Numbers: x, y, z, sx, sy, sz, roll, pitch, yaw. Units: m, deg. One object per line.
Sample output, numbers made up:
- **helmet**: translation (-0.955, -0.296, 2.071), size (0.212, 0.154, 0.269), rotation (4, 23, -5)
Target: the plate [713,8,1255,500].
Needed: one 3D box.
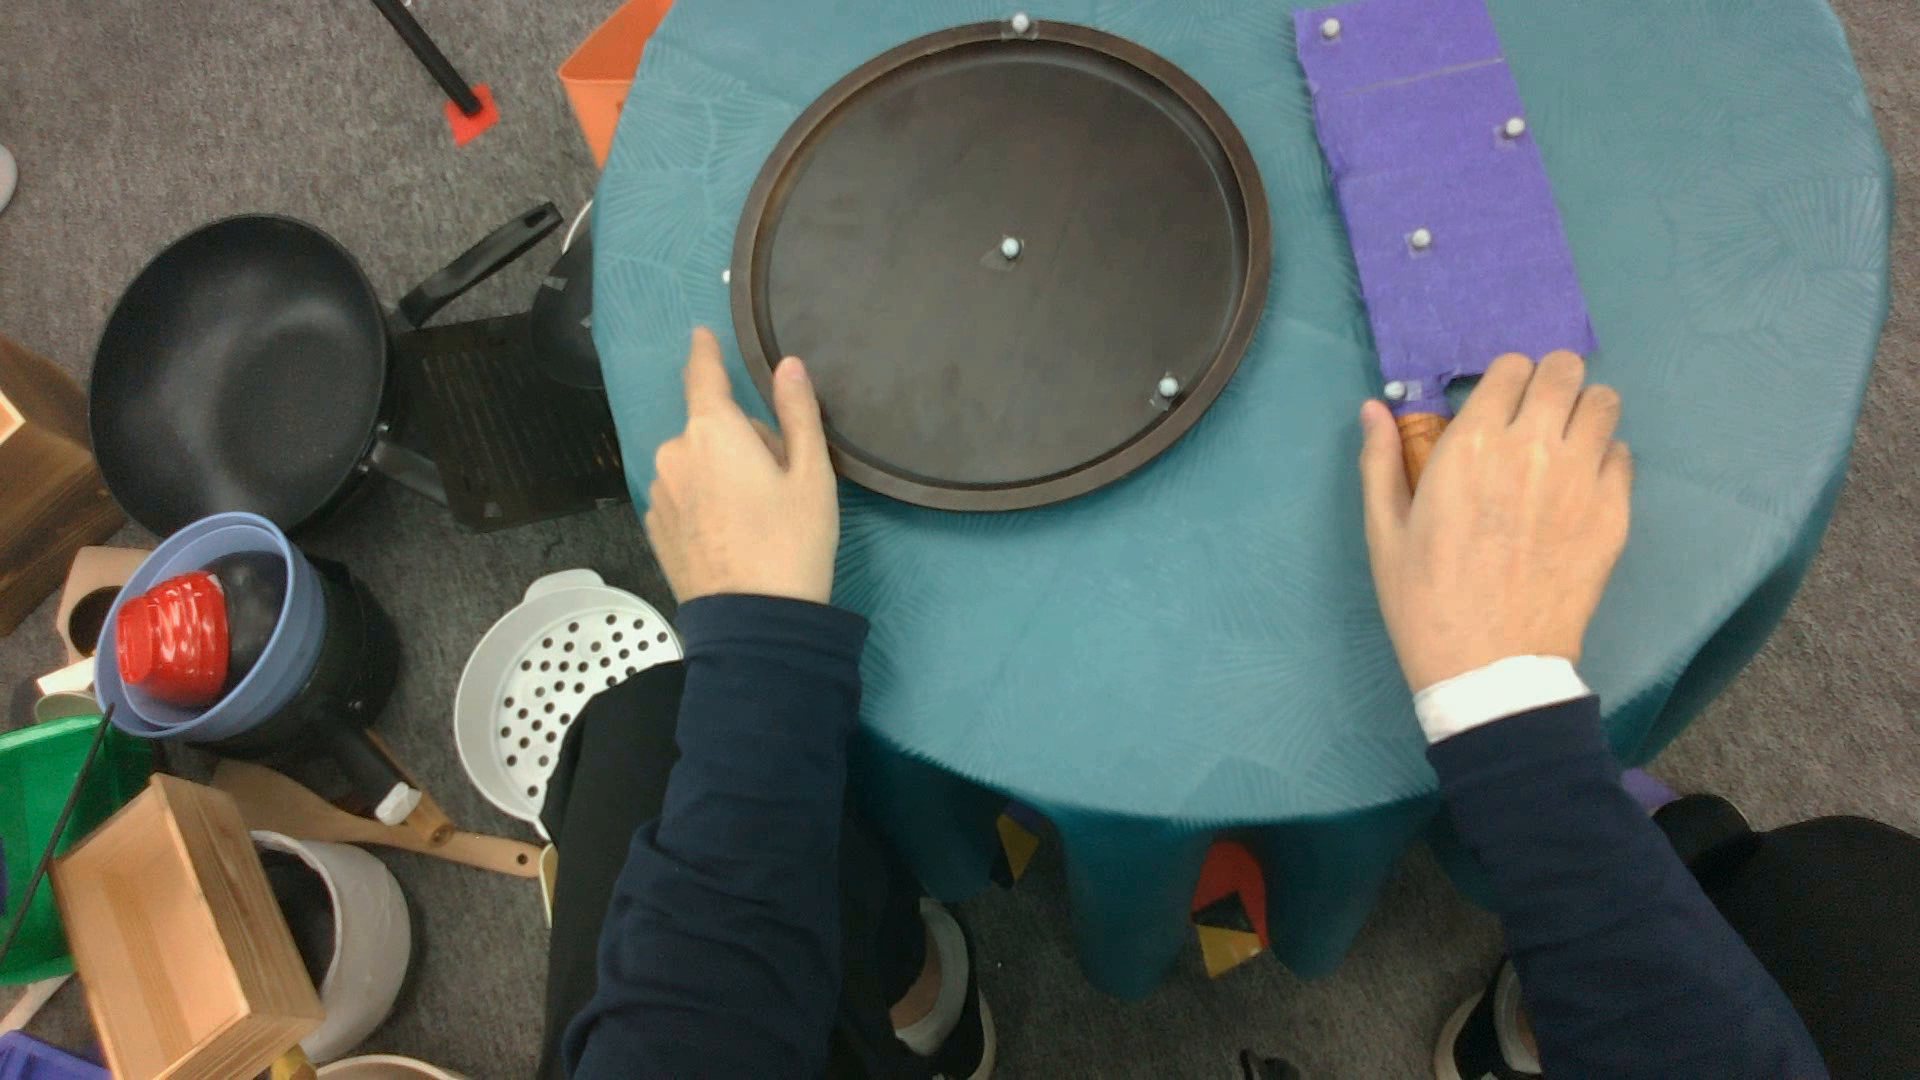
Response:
- **plate**: translation (0.009, -0.137, 0.646), size (0.254, 0.029, 0.255), rotation (-3, 71, 8)

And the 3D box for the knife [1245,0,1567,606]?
- **knife**: translation (0.211, -0.129, 0.612), size (0.104, 0.032, 0.316), rotation (-11, 71, 5)
